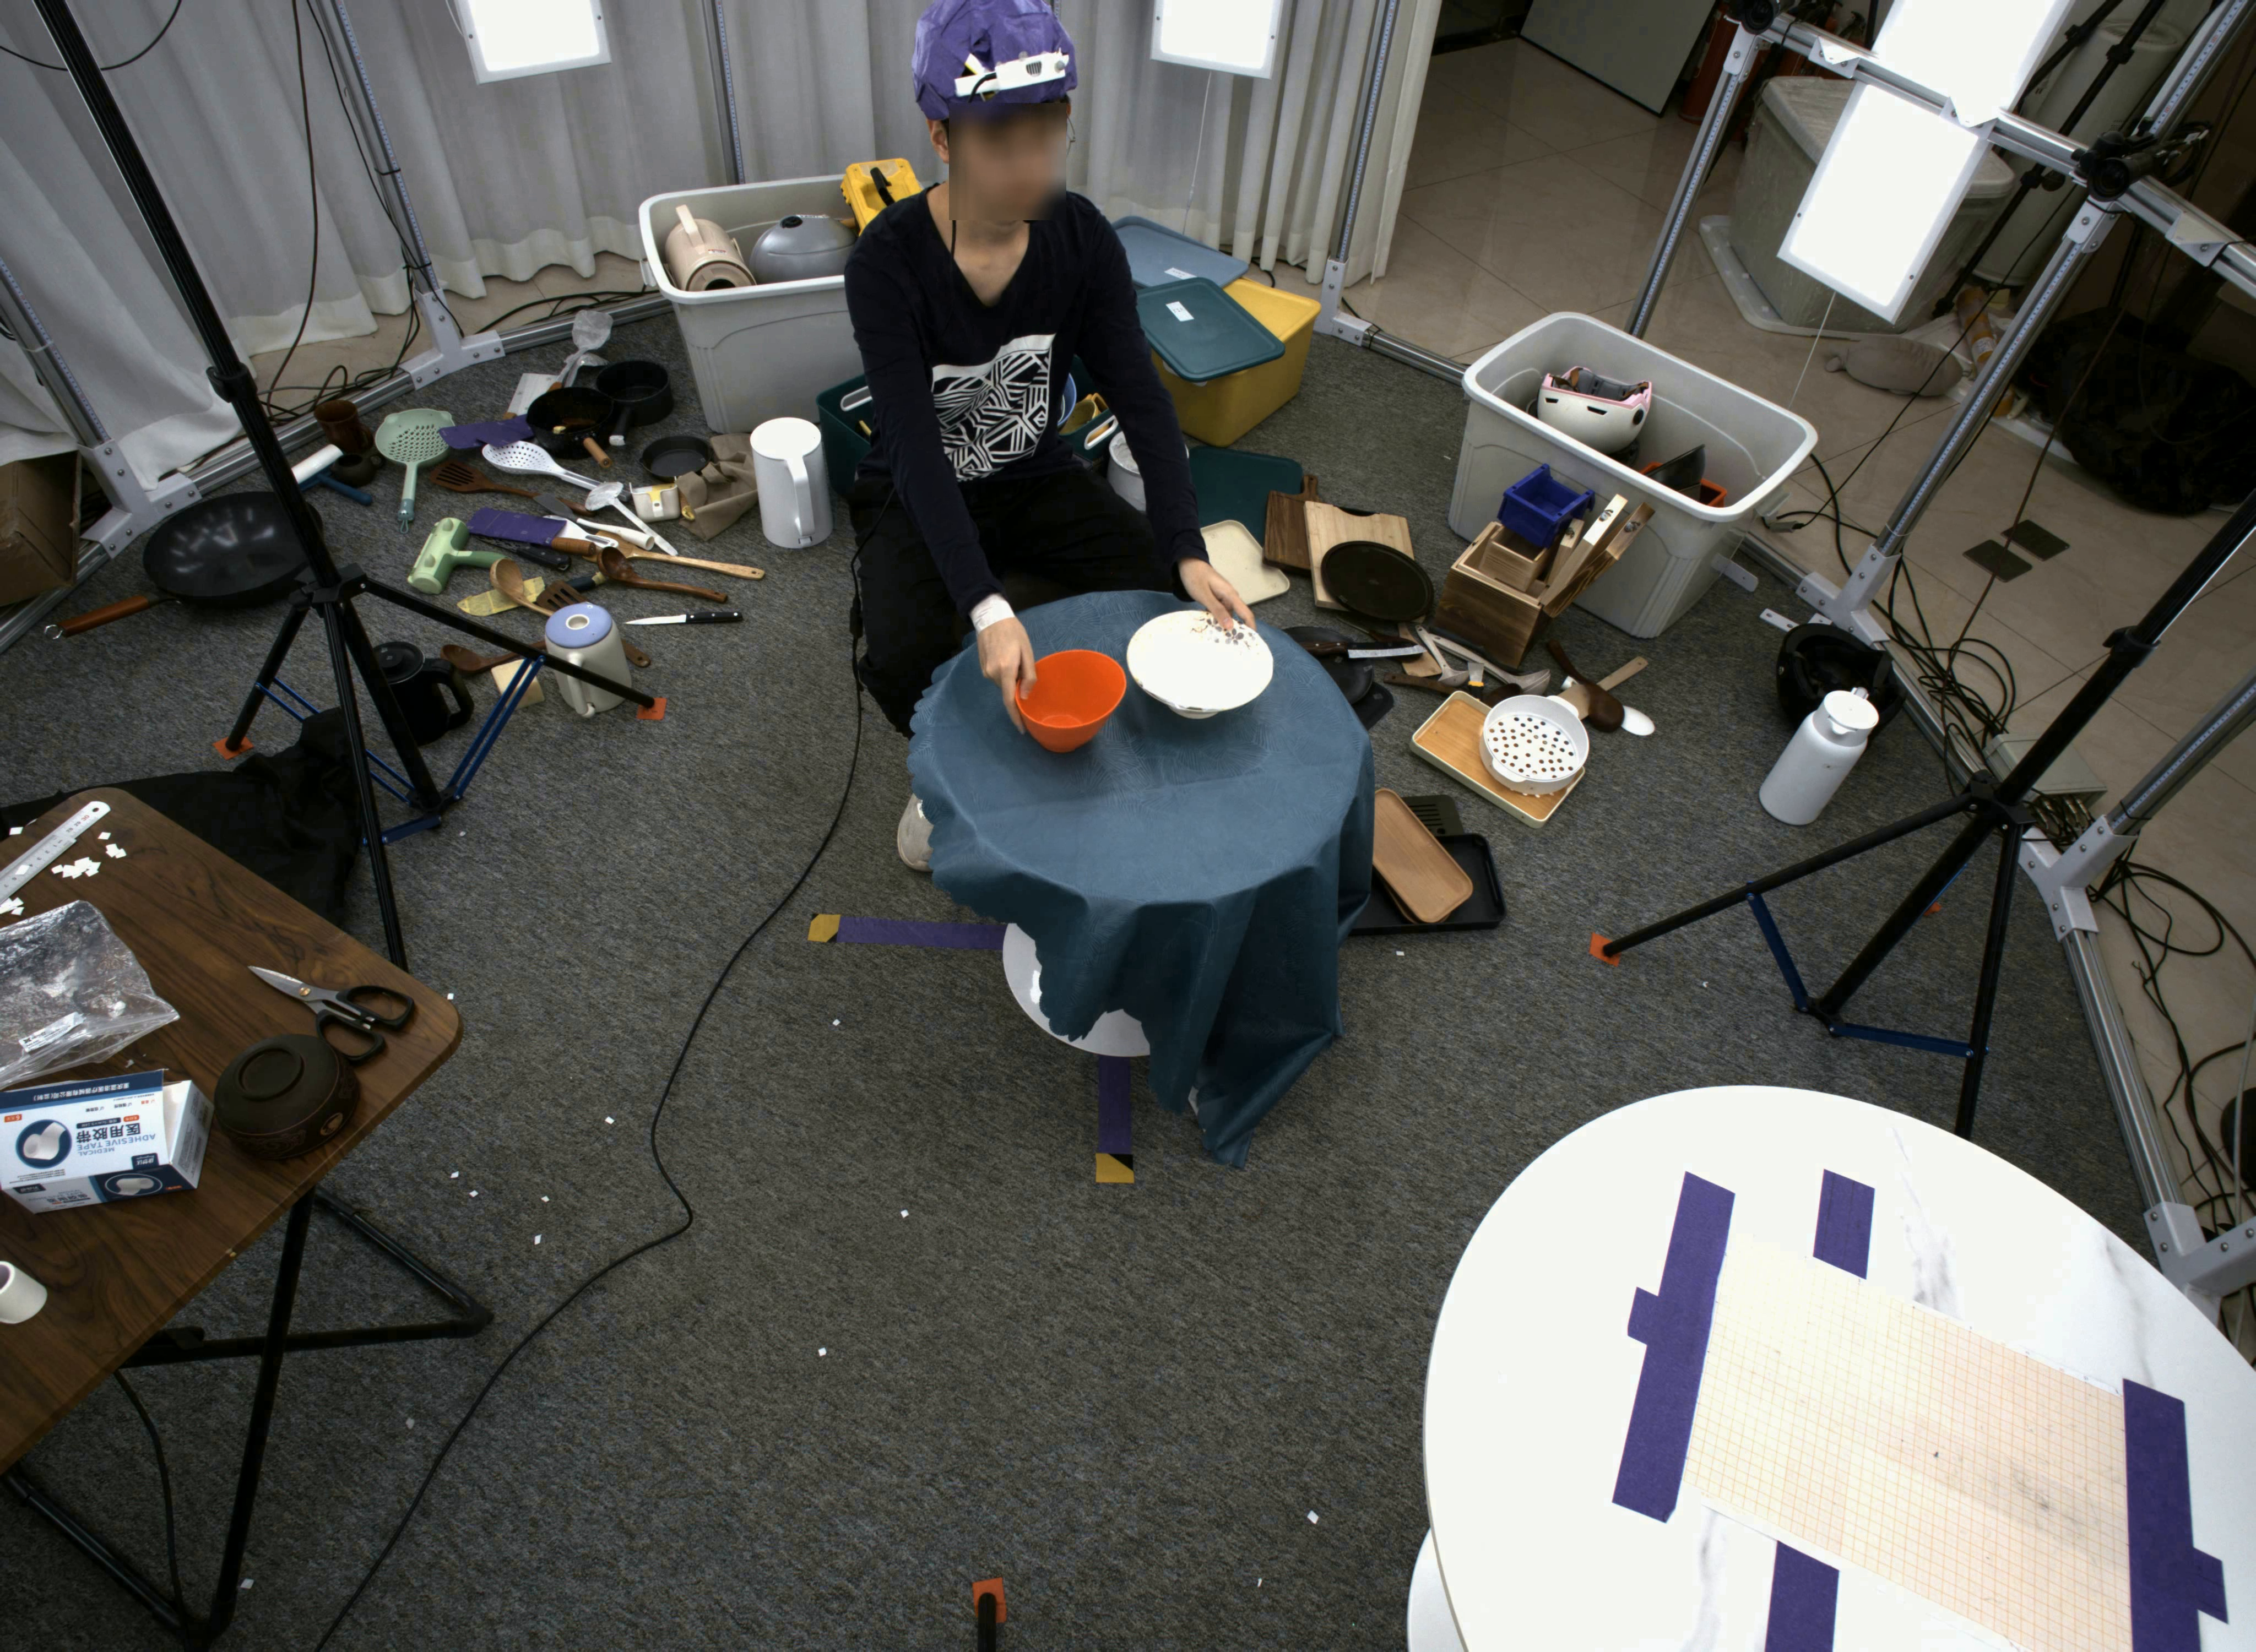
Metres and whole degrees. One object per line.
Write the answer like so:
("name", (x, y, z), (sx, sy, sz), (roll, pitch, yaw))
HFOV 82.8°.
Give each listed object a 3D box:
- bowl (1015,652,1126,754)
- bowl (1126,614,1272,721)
("bowl", (-0.078, -0.156, 1.733), (0.148, 0.102, 0.152), (1, 49, -1))
("bowl", (0.096, -0.205, 1.803), (0.204, 0.076, 0.209), (2, 46, -3))
